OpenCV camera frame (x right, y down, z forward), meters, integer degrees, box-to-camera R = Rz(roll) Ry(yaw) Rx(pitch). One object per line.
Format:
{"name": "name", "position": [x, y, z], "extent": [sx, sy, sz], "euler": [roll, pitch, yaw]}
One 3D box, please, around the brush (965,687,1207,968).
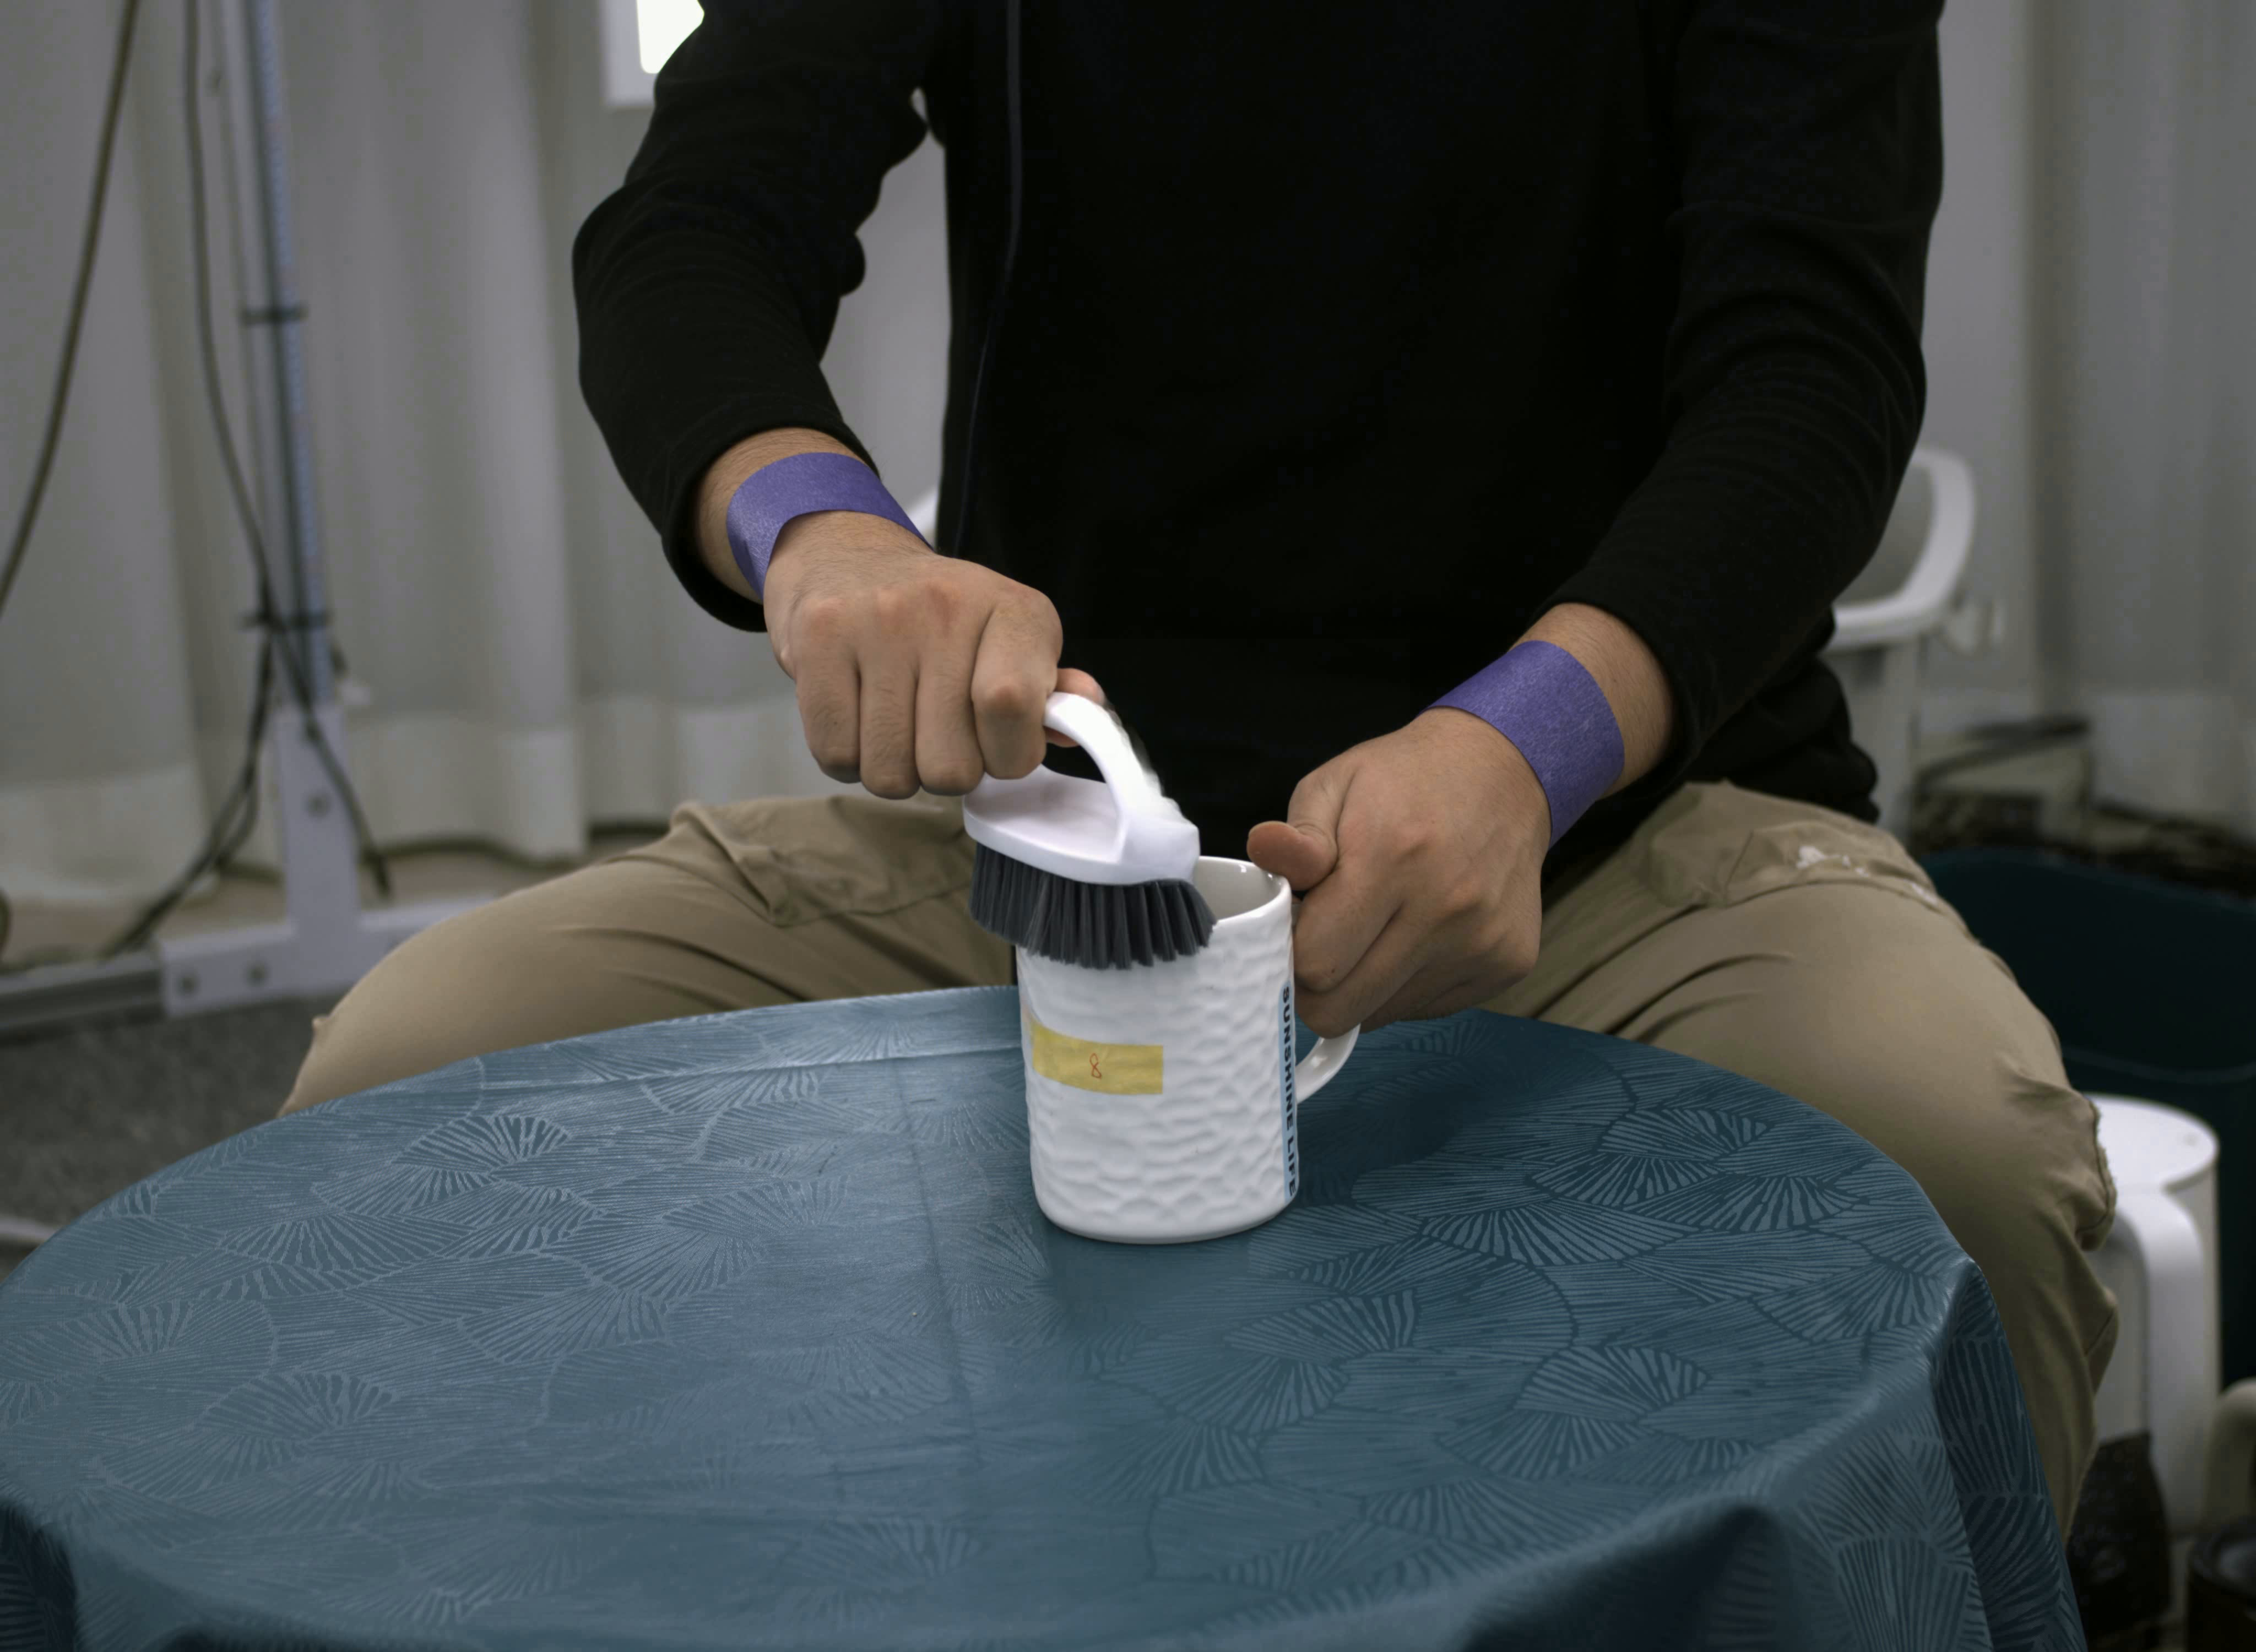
{"name": "brush", "position": [-0.016, -0.004, 1.648], "extent": [0.050, 0.072, 0.100], "euler": [-13, 18, -25]}

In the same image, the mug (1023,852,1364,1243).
{"name": "mug", "position": [0.023, 0.065, 1.698], "extent": [0.118, 0.101, 0.085], "euler": [-12, 18, -35]}
